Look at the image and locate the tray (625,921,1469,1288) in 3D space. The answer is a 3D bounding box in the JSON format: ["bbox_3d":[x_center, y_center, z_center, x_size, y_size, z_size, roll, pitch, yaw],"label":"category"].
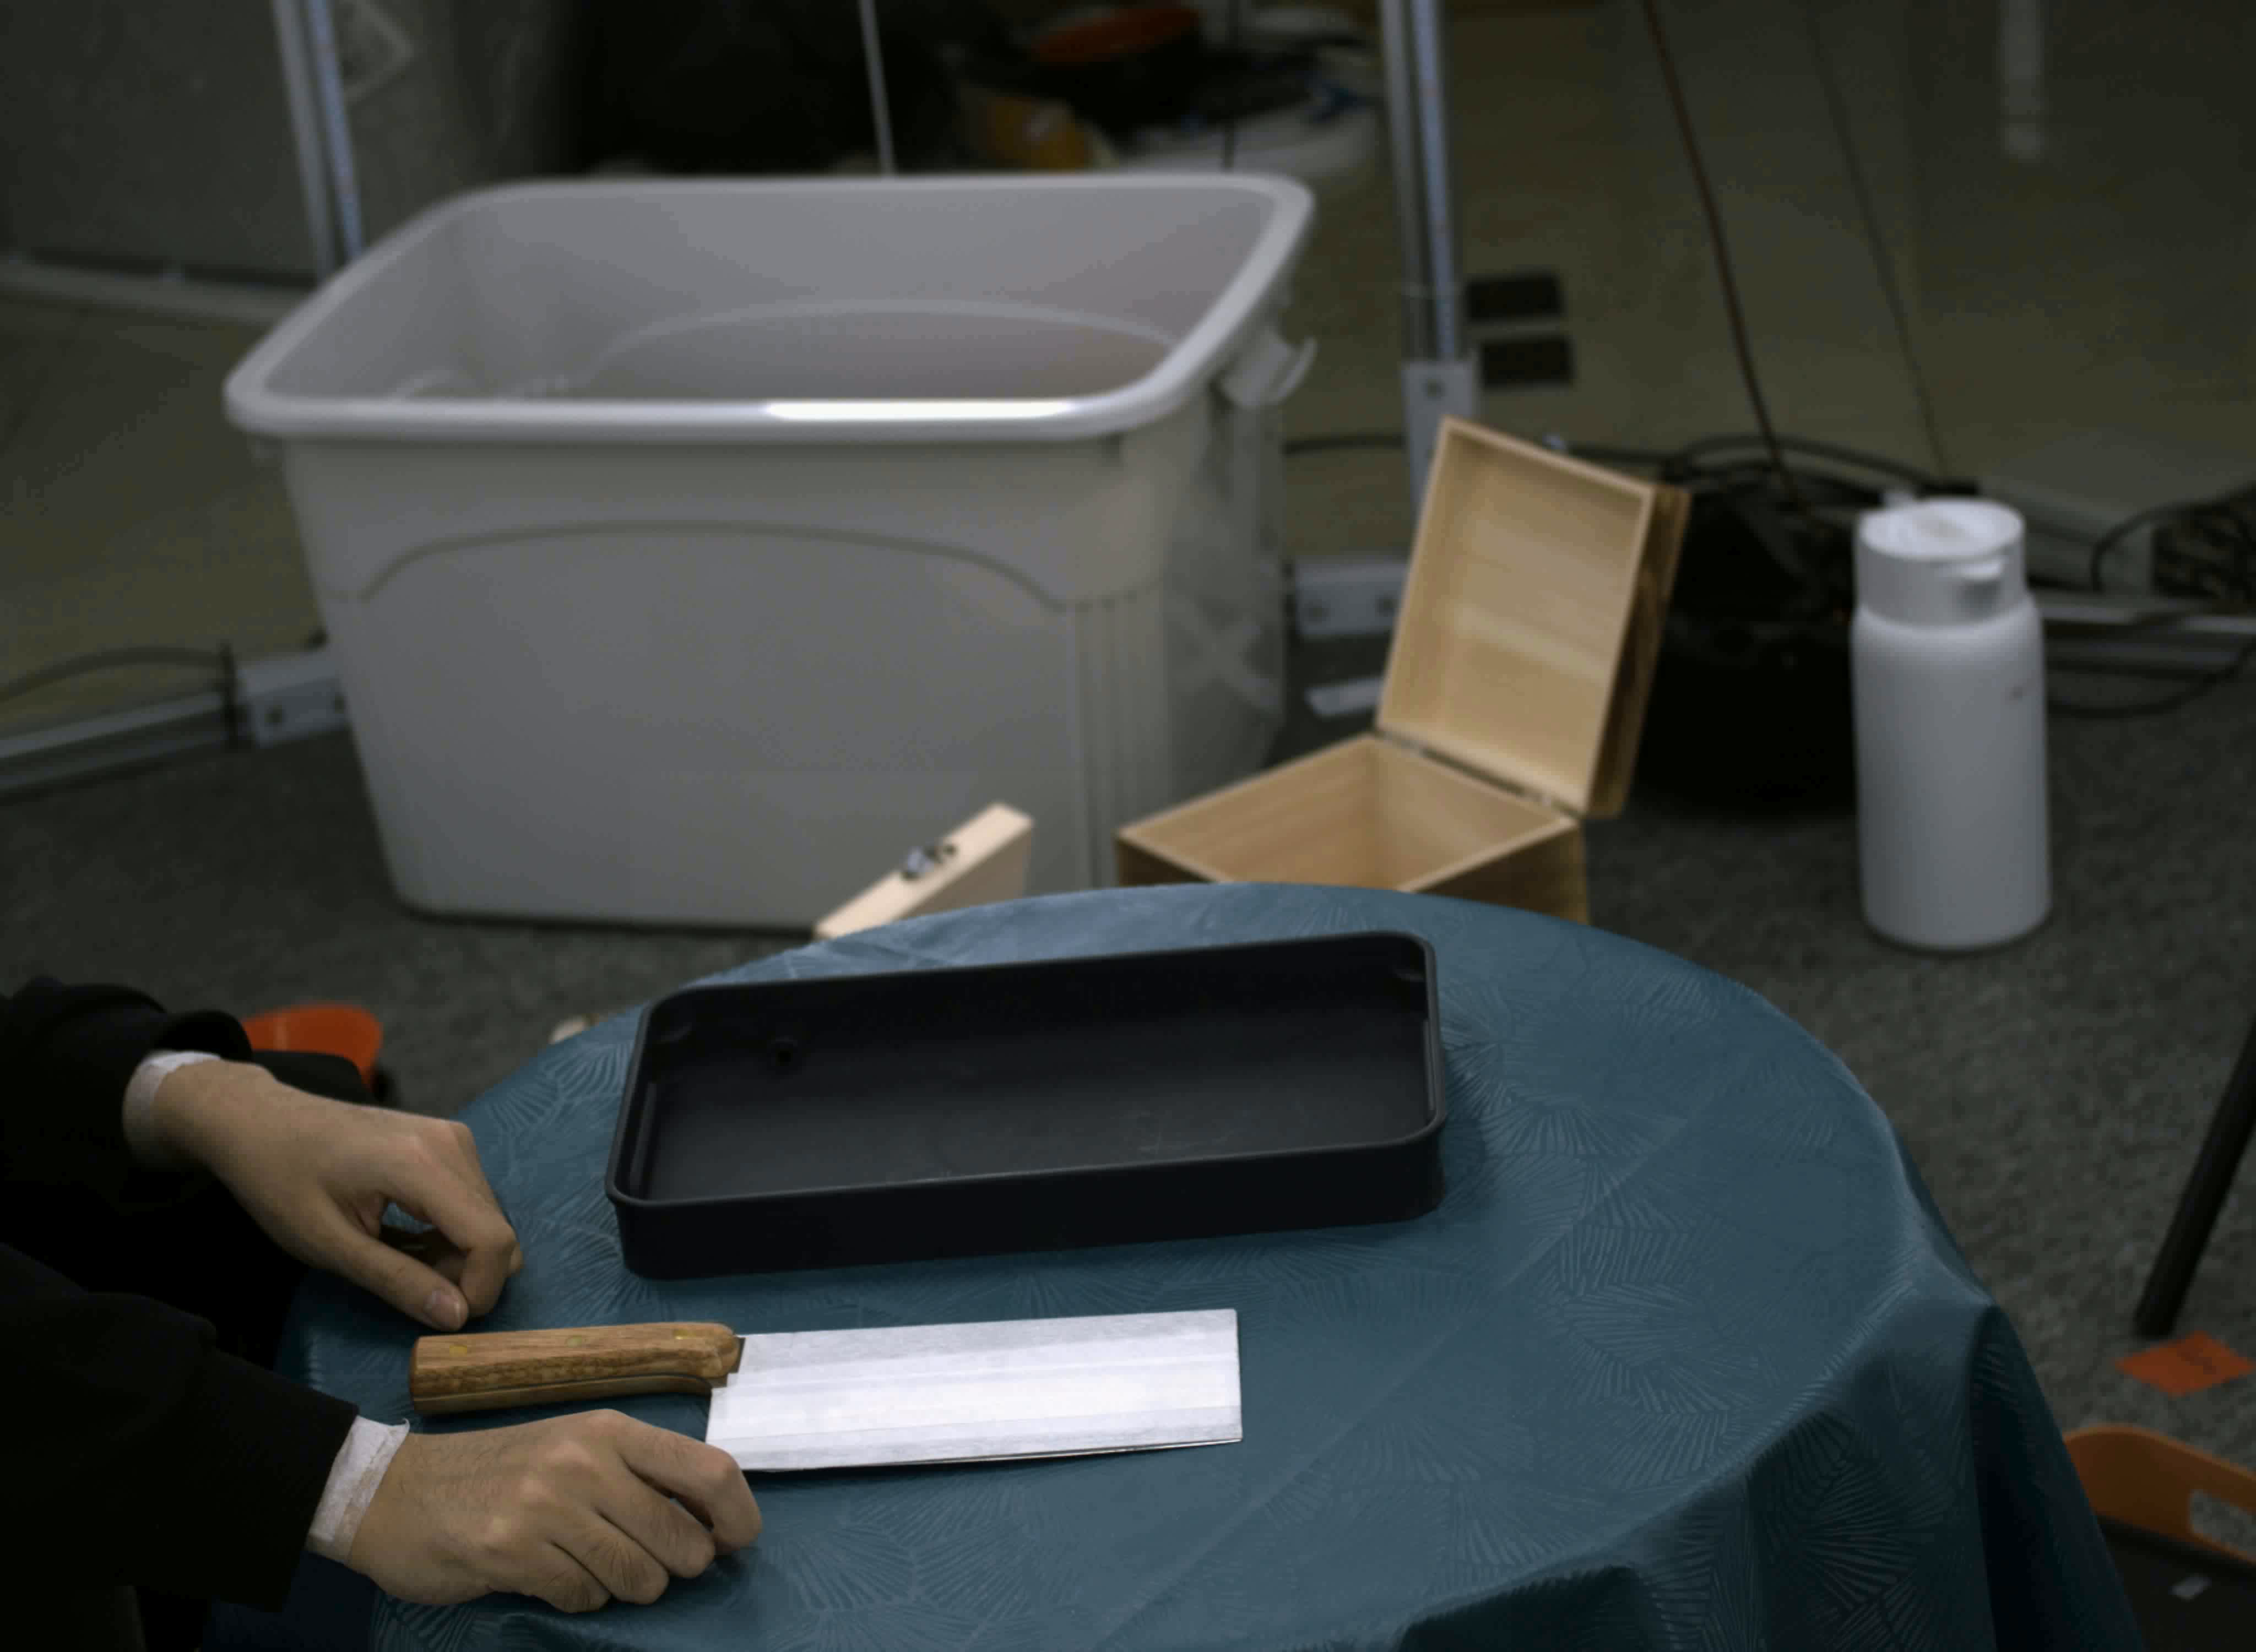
[{"bbox_3d":[-0.030,0.105,2.184,0.317,0.037,0.181,-6,25,2],"label":"tray"}]

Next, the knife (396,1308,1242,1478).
[{"bbox_3d":[-0.112,0.203,2.020,0.305,0.021,0.091,-3,27,1],"label":"knife"}]
